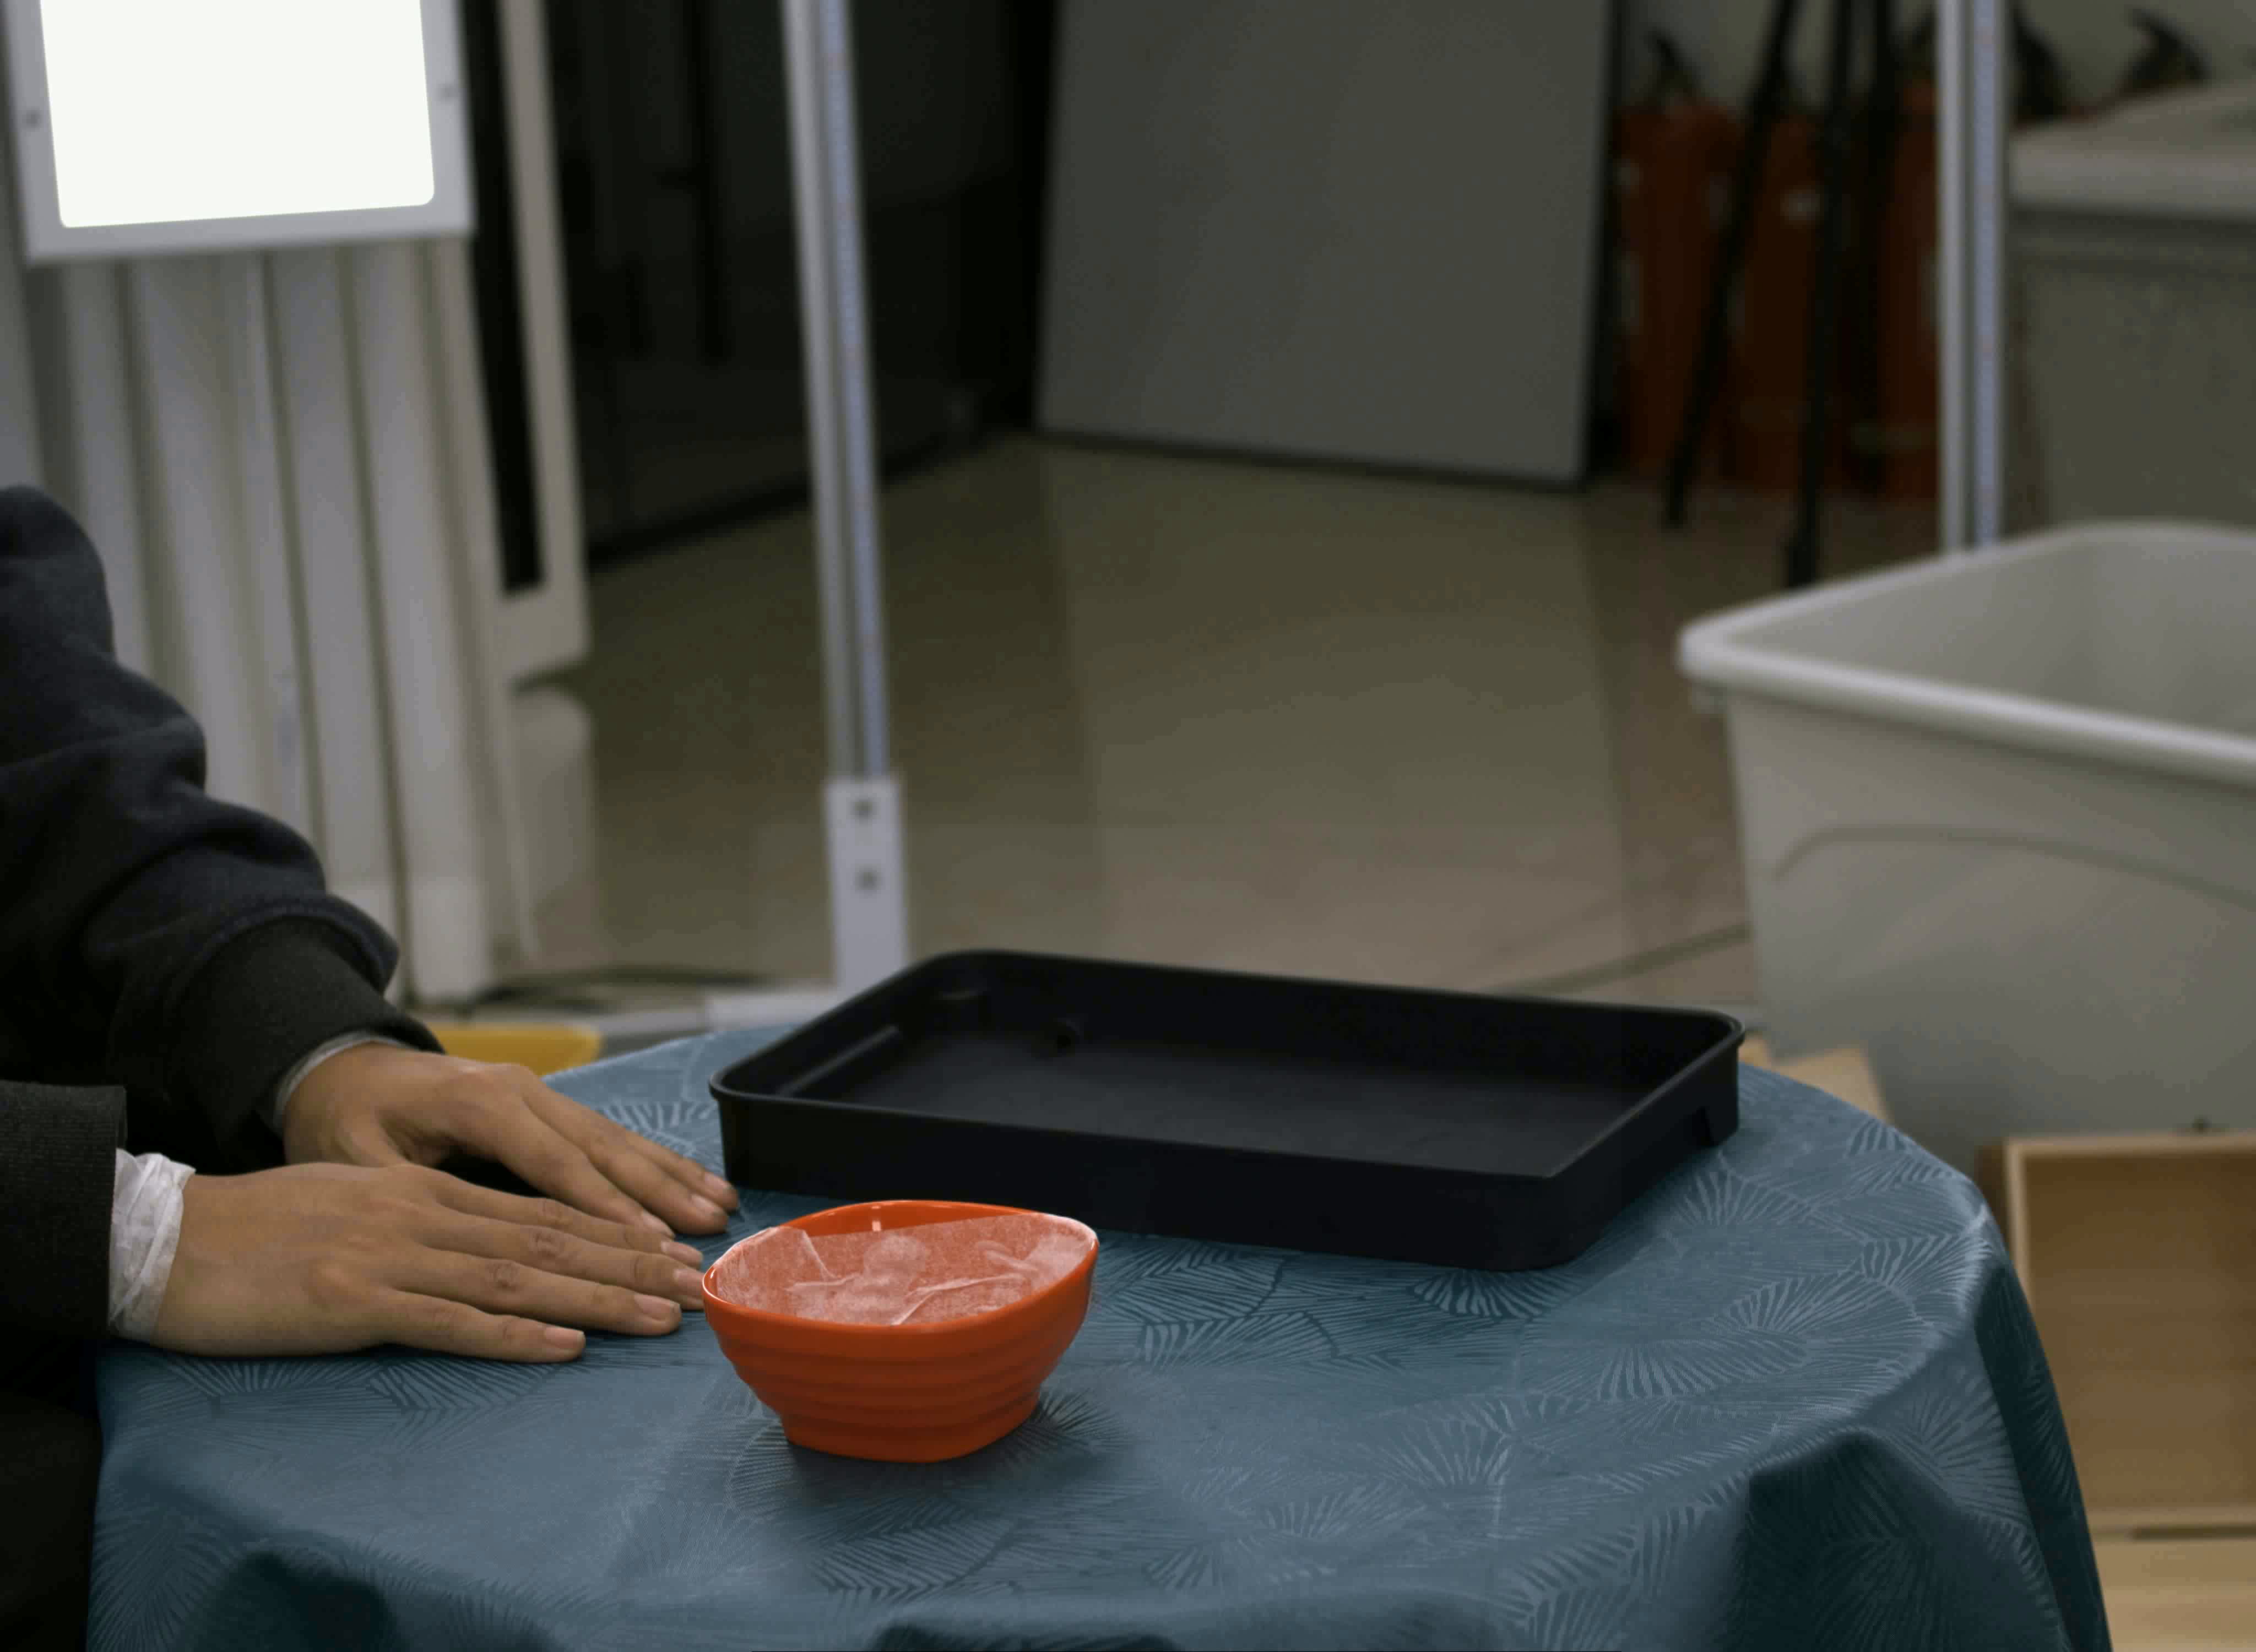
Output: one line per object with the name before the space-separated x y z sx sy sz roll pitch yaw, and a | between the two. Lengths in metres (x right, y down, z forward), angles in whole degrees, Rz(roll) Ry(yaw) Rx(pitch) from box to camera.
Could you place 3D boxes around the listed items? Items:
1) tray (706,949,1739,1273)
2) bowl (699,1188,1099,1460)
tray | 0.032 0.092 1.801 0.319 0.037 0.181 4 16 29
bowl | -0.065 0.146 1.565 0.117 0.052 0.119 -3 15 0
